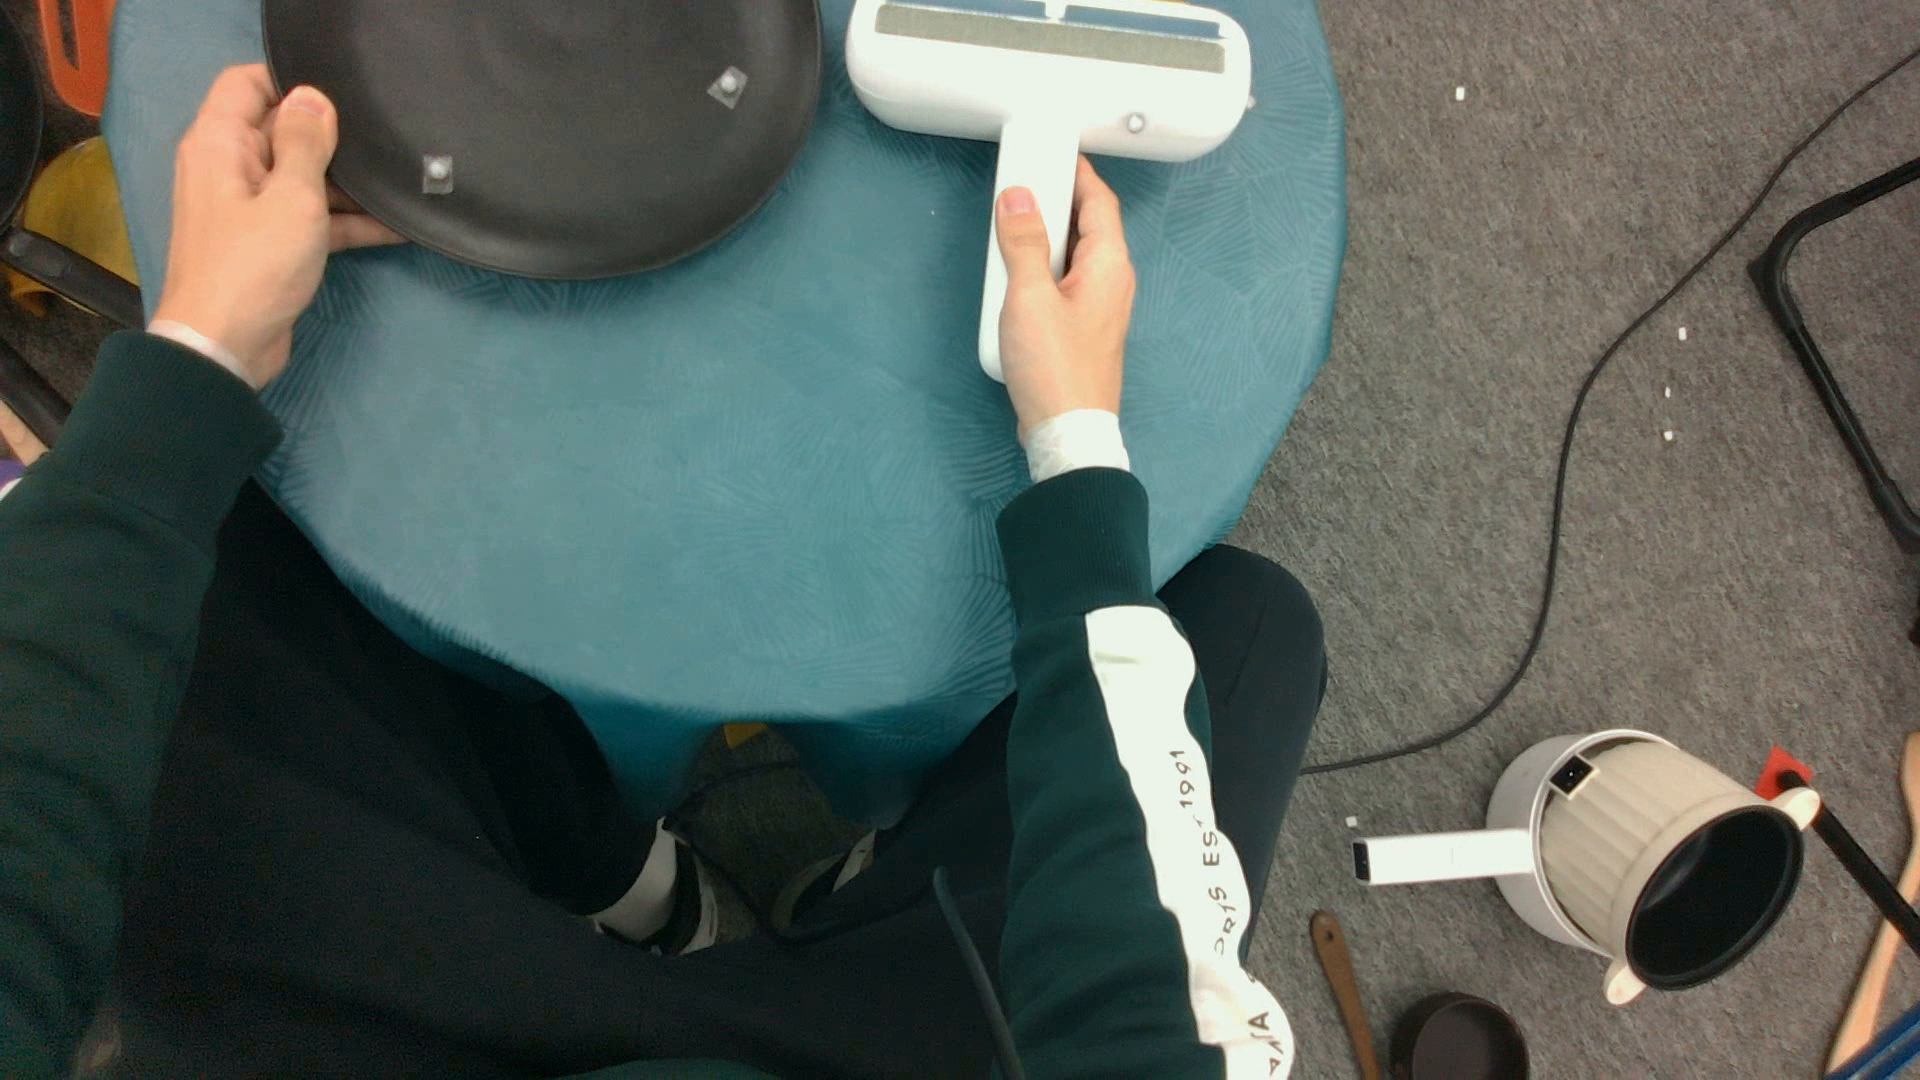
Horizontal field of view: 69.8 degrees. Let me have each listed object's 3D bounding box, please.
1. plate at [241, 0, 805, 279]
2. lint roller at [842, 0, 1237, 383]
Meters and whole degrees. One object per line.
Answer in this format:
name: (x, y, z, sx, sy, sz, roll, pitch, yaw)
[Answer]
plate: (-0.193, -0.233, 0.632, 0.245, 0.023, 0.244, 2, 81, -14)
lint roller: (0.026, -0.174, 0.678, 0.193, 0.074, 0.192, 12, 87, -3)
